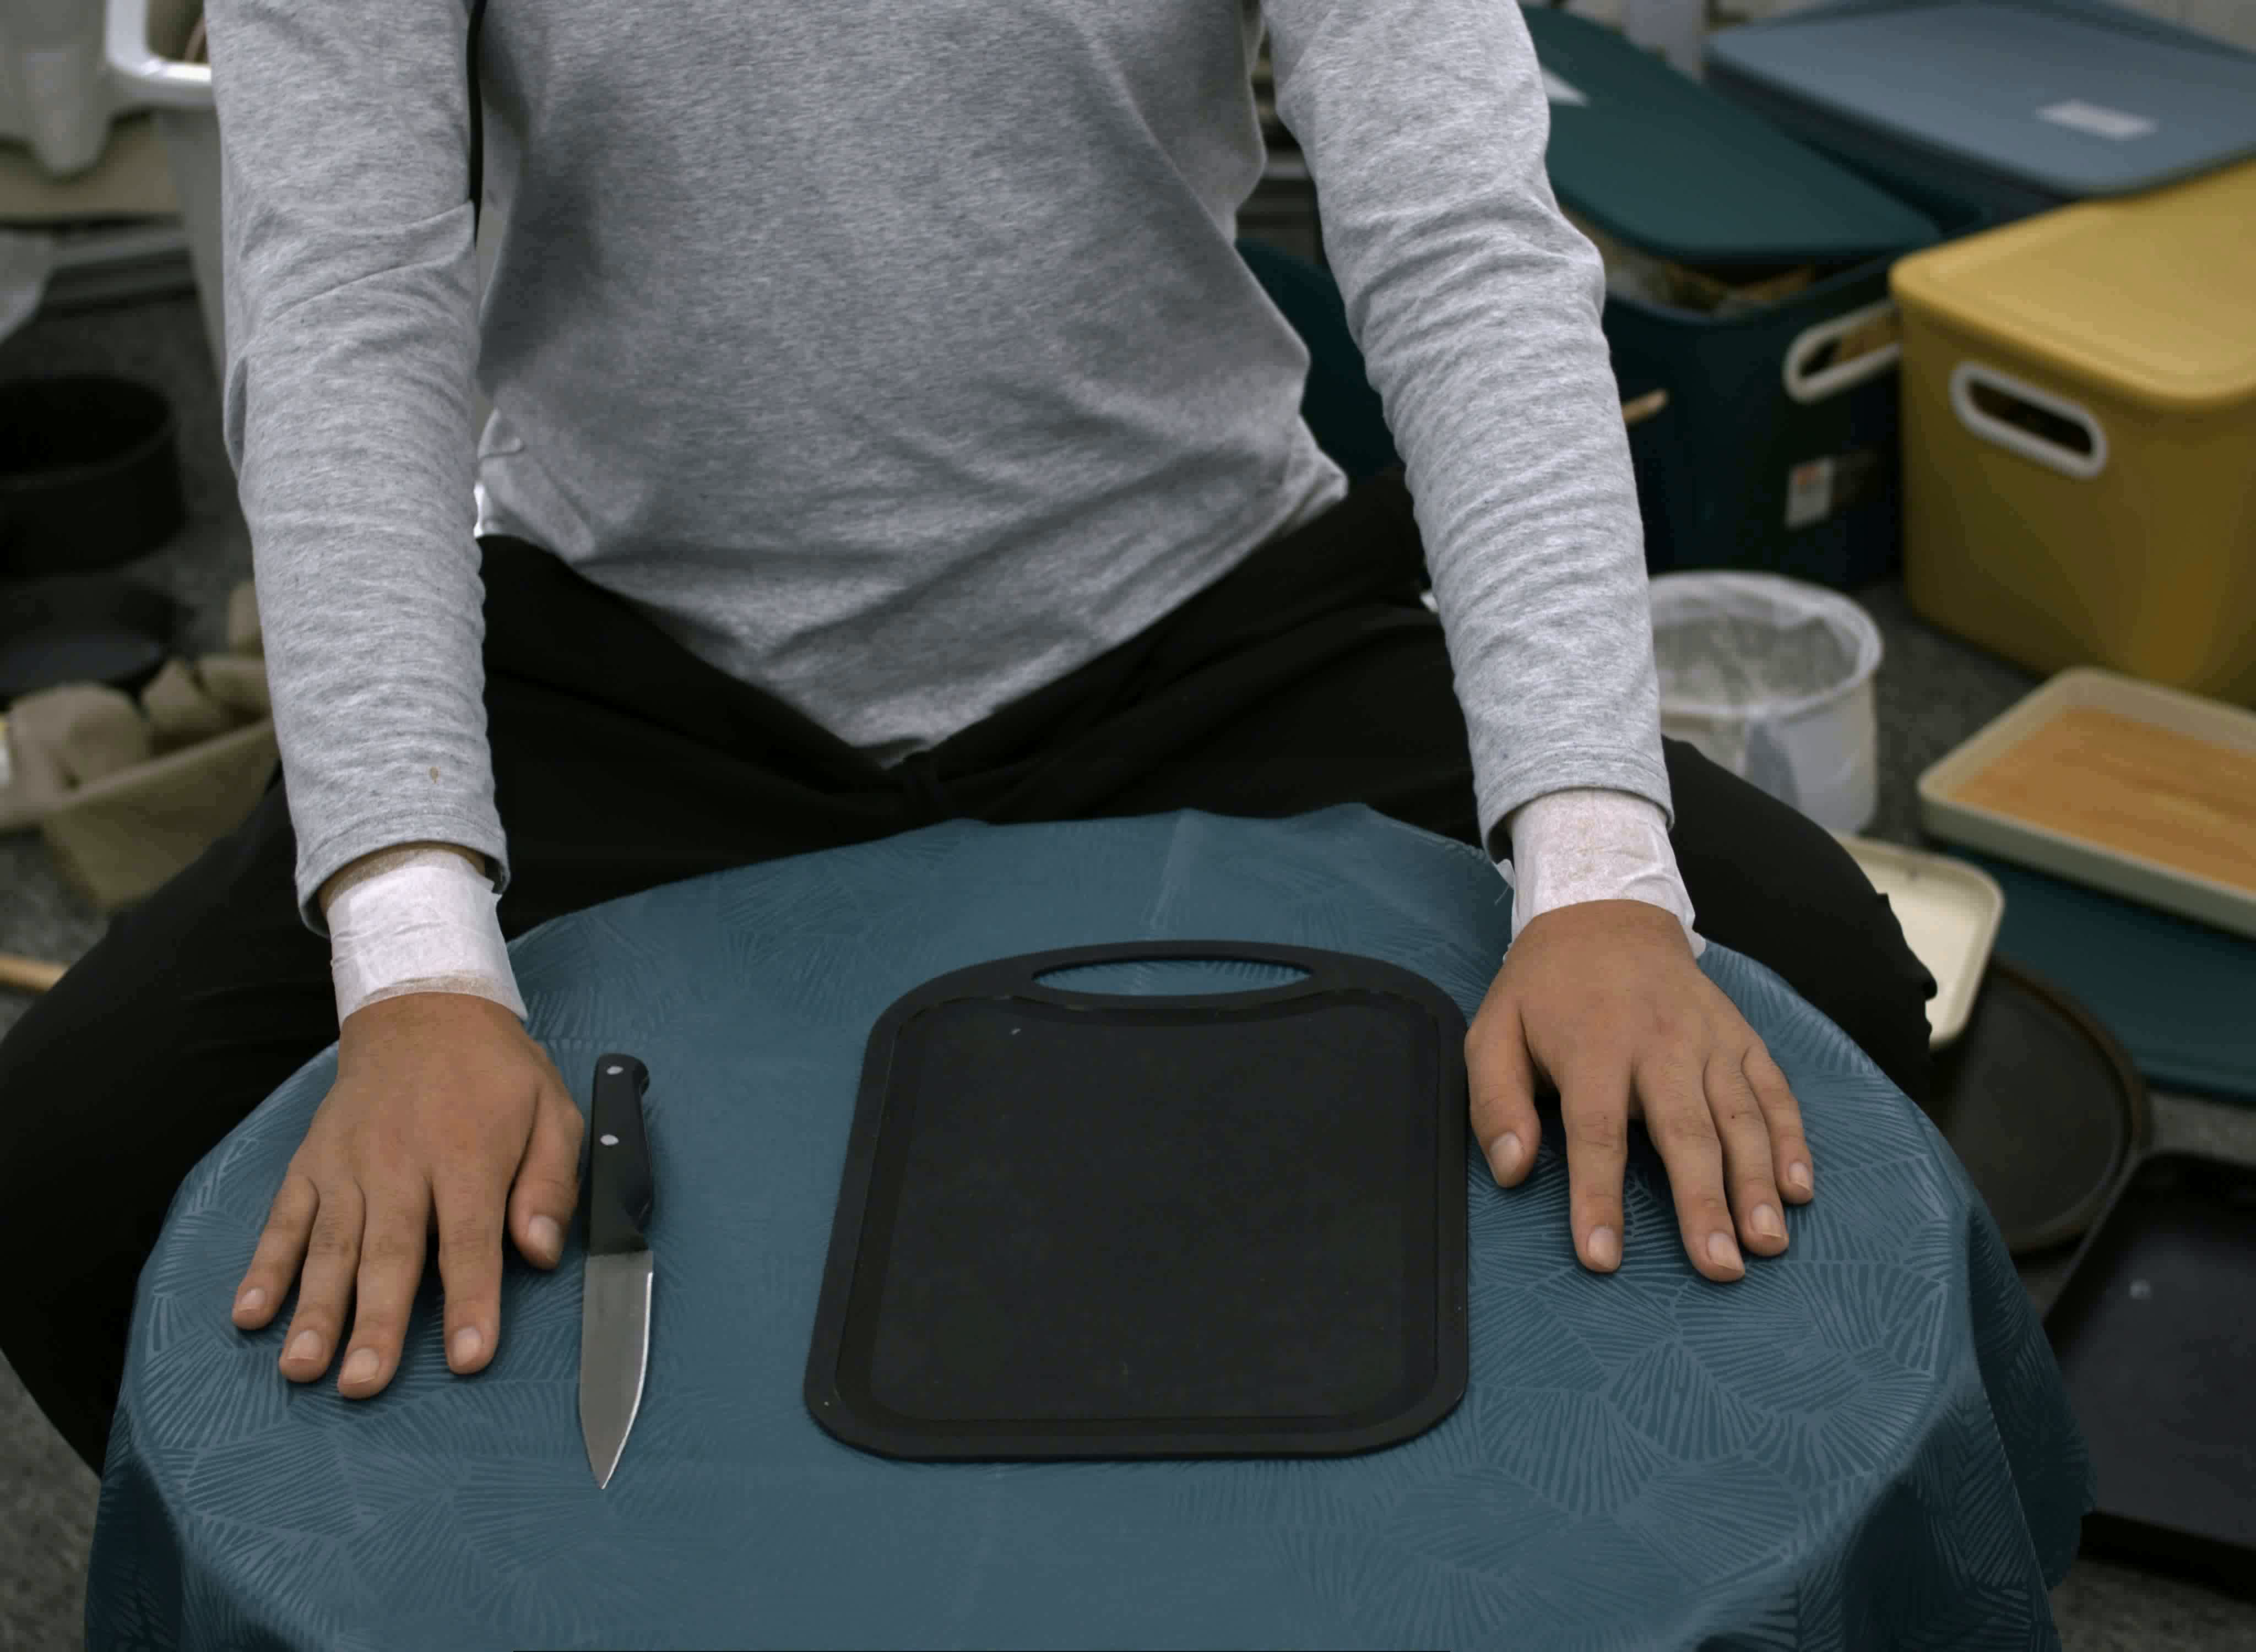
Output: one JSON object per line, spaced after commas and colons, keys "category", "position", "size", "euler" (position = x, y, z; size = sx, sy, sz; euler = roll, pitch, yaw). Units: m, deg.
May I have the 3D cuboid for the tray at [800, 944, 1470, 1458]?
{"category": "tray", "position": [0.007, 0.117, 1.864], "size": [0.210, 0.009, 0.330], "euler": [0, 27, 4]}

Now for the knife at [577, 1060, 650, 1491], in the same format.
{"category": "knife", "position": [-0.167, 0.145, 1.821], "size": [0.024, 0.016, 0.242], "euler": [-5, 30, -2]}
